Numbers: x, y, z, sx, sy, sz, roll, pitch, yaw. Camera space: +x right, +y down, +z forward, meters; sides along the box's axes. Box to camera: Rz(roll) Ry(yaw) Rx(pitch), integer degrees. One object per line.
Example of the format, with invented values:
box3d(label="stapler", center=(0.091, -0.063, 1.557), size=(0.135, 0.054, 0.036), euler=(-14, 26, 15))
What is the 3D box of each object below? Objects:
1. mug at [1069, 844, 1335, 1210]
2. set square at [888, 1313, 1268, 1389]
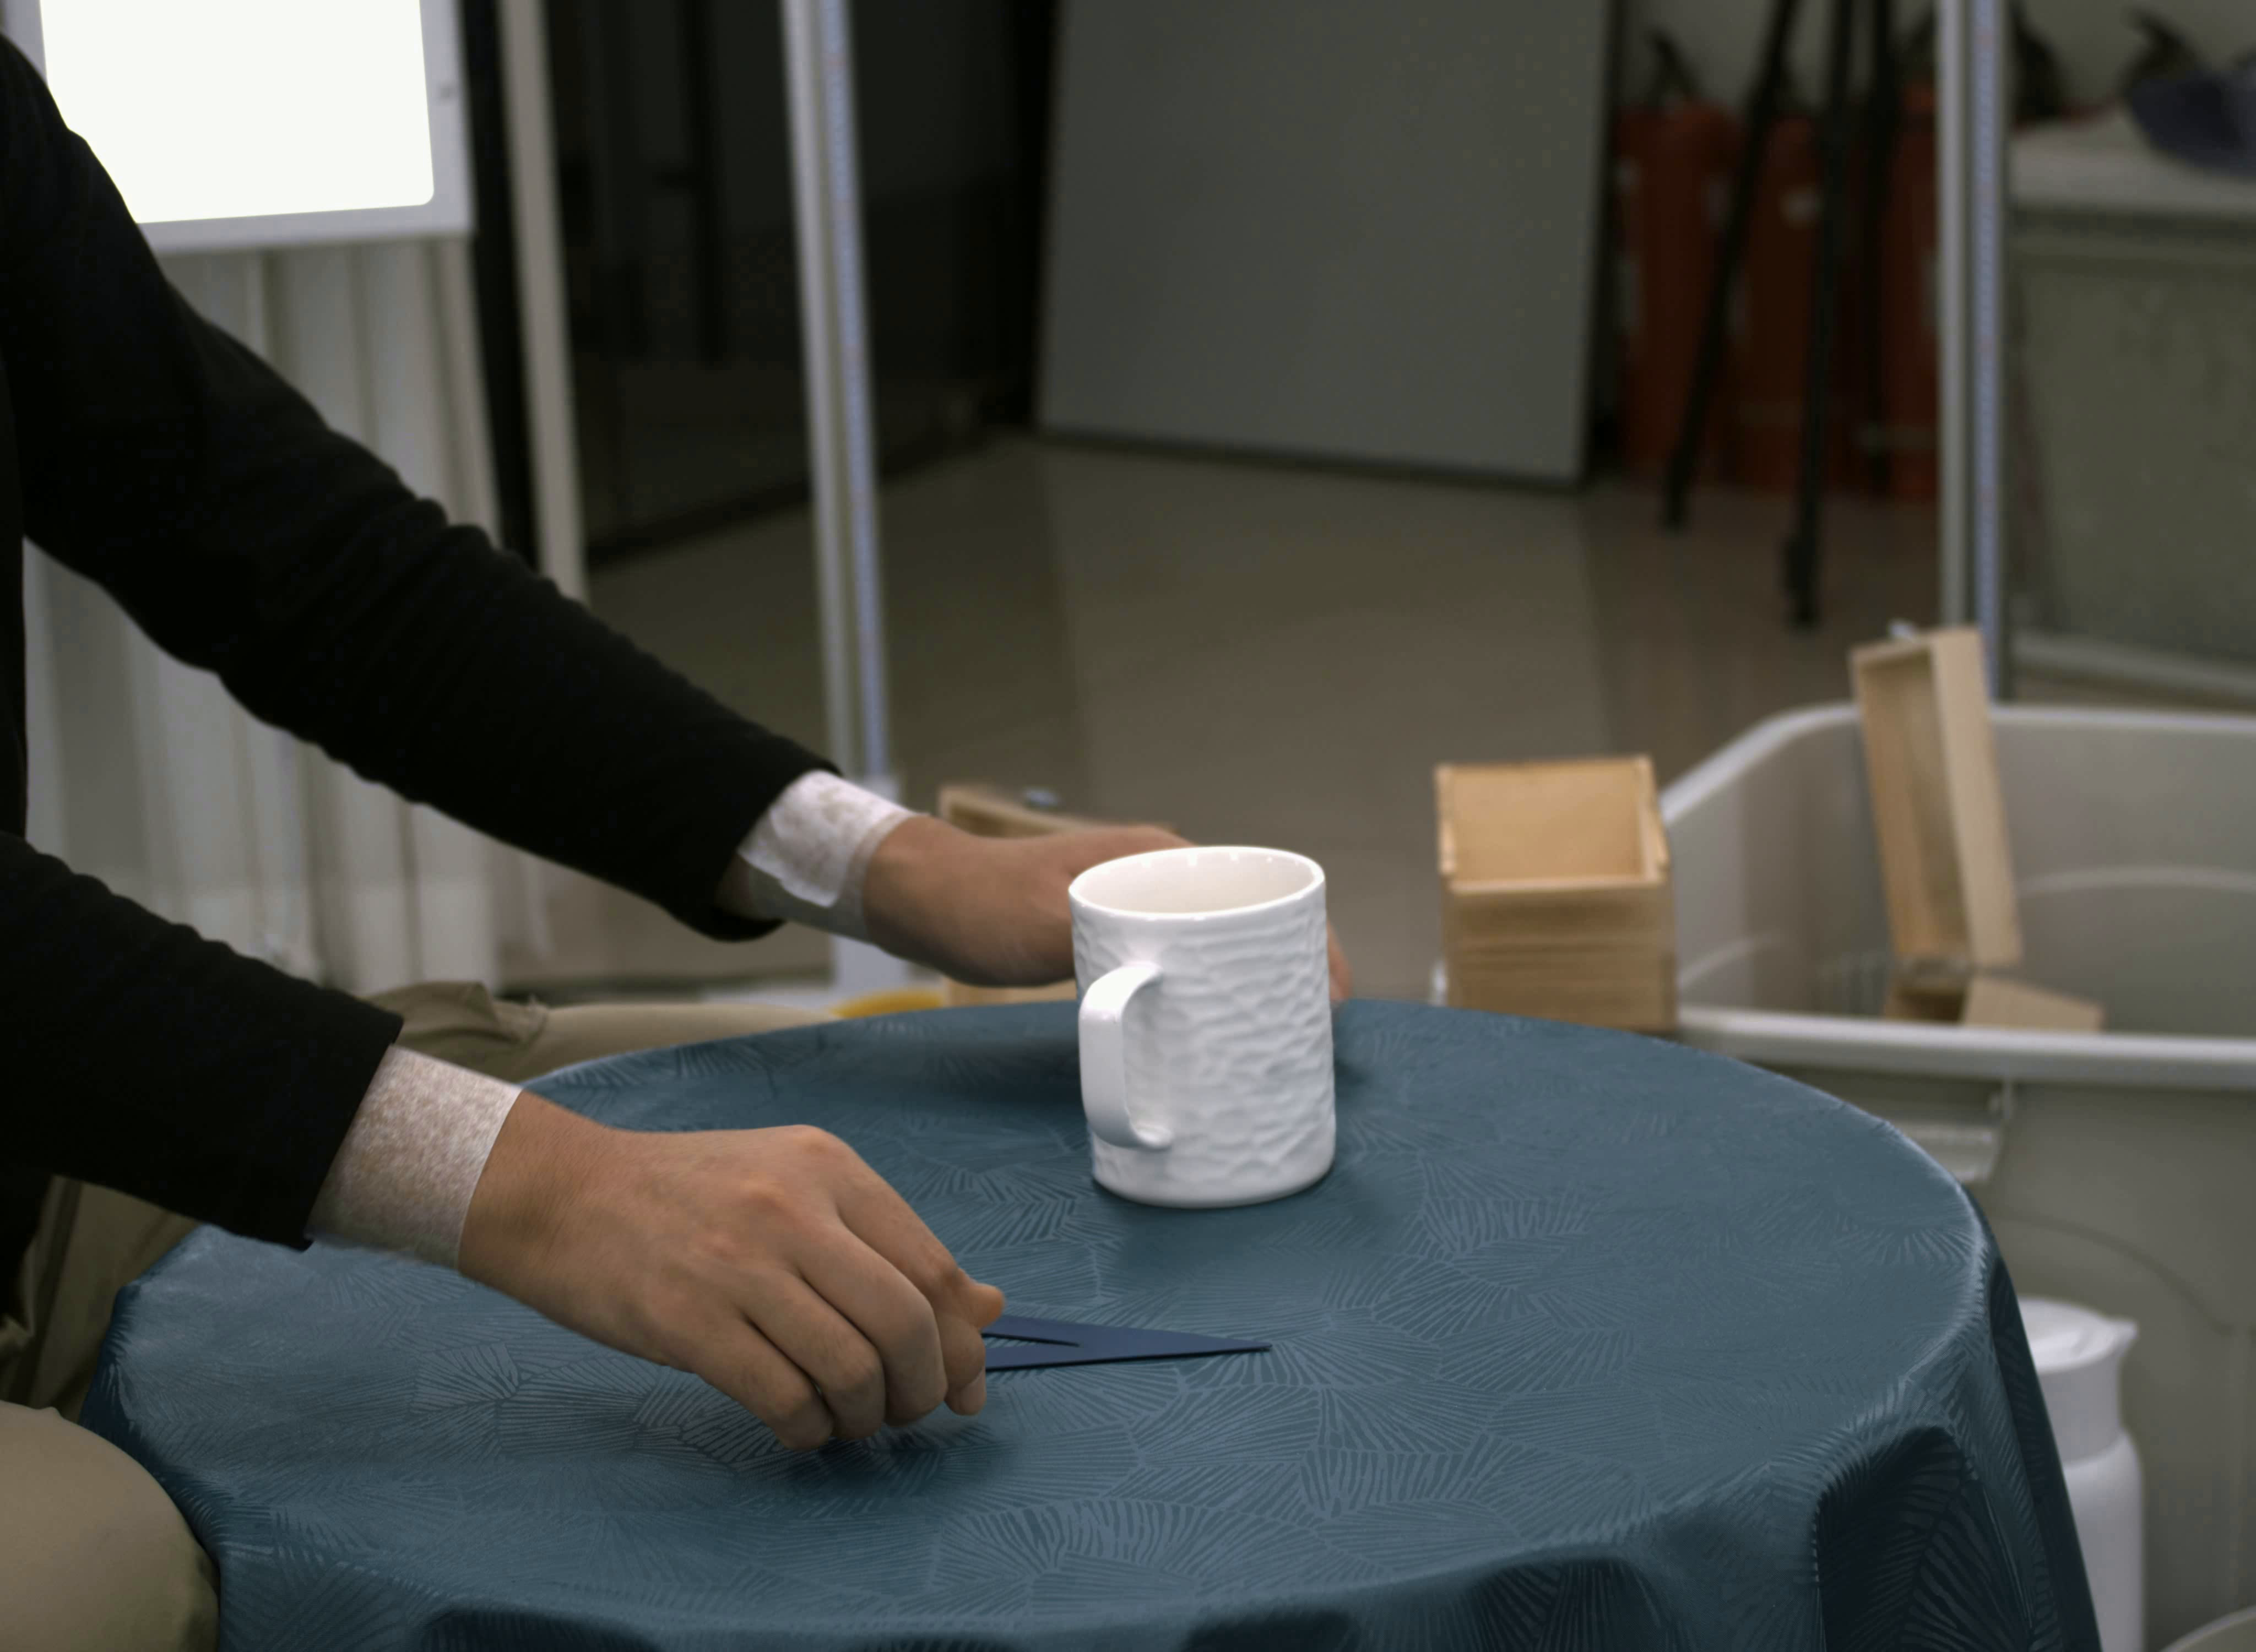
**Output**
box3d(label="mug", center=(0.018, 0.069, 1.758), size=(0.085, 0.103, 0.116), euler=(4, 15, 28))
box3d(label="set square", center=(-0.025, 0.161, 1.609), size=(0.132, 0.006, 0.060), euler=(5, 17, 32))
